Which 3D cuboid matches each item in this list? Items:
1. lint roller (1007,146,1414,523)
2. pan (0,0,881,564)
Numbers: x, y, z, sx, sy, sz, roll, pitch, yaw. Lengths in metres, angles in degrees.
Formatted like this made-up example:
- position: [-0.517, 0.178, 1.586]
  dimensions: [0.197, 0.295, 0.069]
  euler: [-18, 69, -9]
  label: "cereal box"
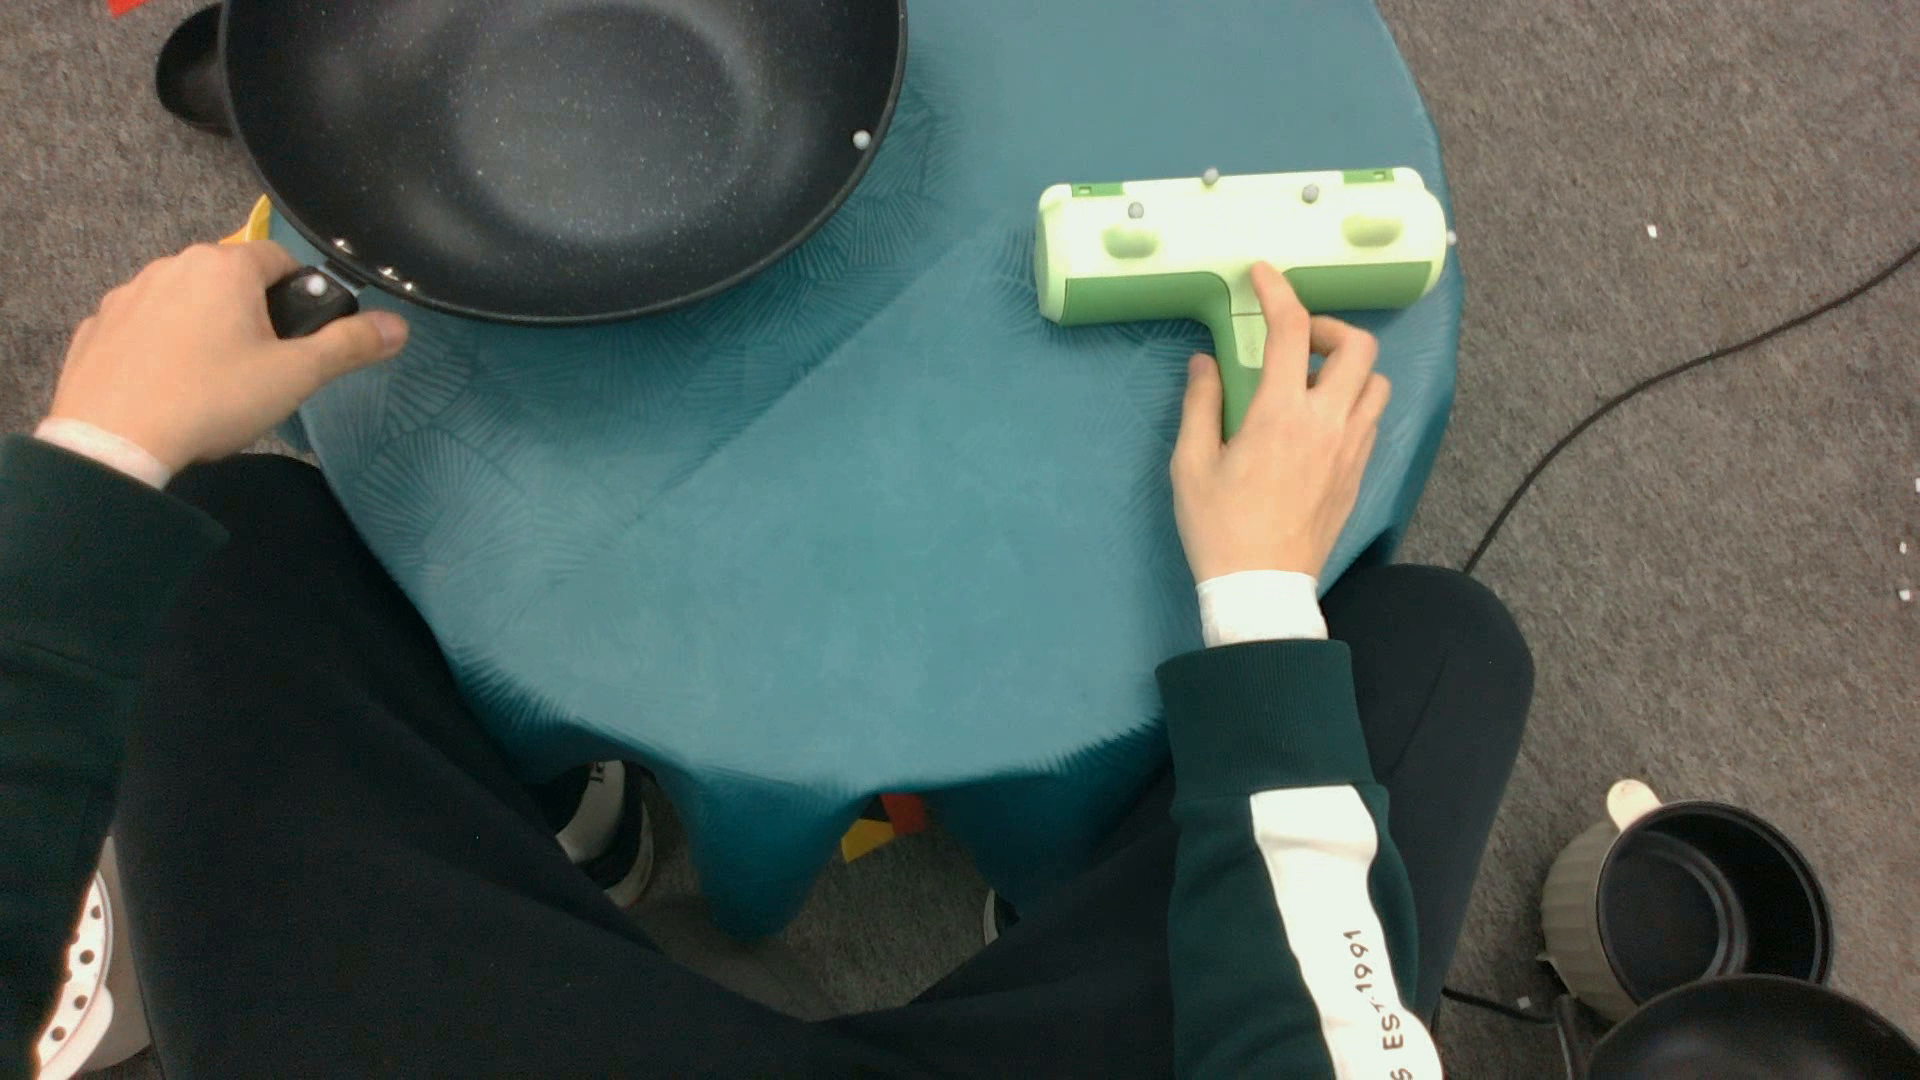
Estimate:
- position: [0.129, -0.105, 0.655]
  dimensions: [0.199, 0.082, 0.184]
  euler: [-5, 69, -6]
  label: "lint roller"
- position: [-0.237, -0.172, 0.633]
  dimensions: [0.310, 0.111, 0.478]
  euler: [31, 74, 6]
  label: "pan"
